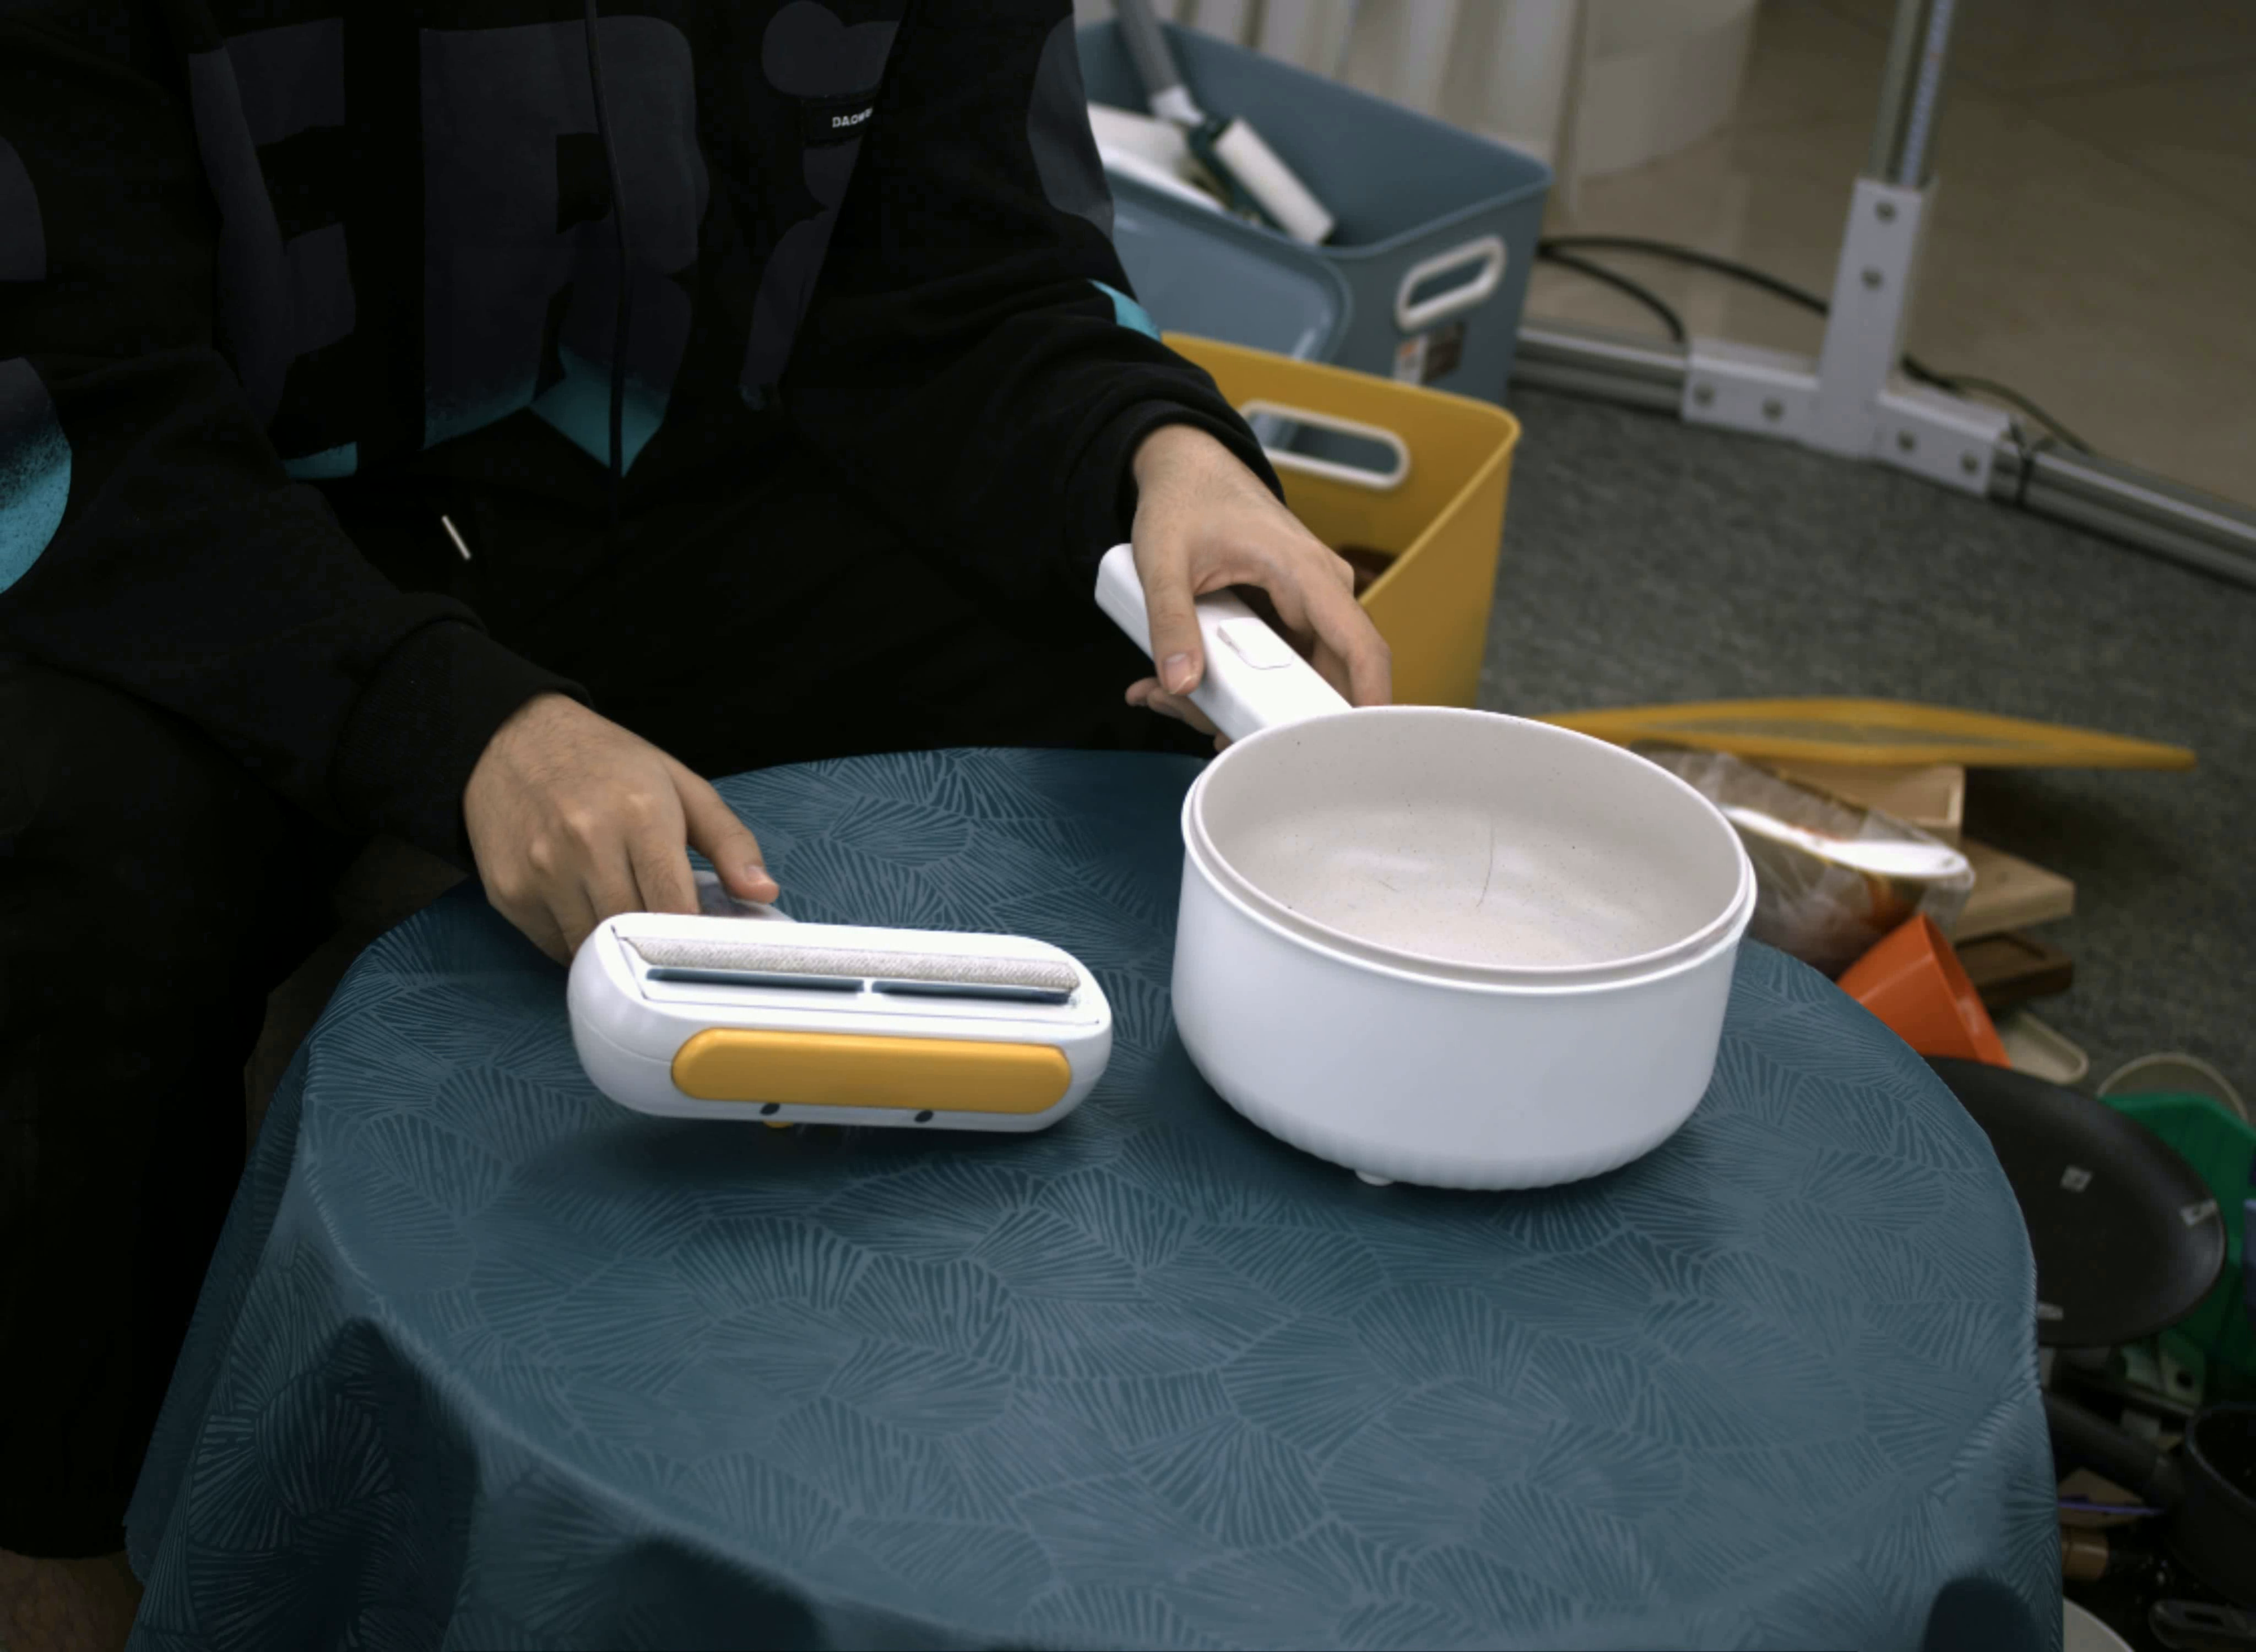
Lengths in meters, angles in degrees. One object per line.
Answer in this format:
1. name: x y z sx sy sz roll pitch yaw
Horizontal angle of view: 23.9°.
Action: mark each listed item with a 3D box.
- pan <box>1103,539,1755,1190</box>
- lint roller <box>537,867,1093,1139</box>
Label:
1. pan: 0.079 0.012 1.924 0.200 0.102 0.358 -8 30 -25
2. lint roller: -0.125 0.048 1.846 0.191 0.074 0.194 1 25 -22
